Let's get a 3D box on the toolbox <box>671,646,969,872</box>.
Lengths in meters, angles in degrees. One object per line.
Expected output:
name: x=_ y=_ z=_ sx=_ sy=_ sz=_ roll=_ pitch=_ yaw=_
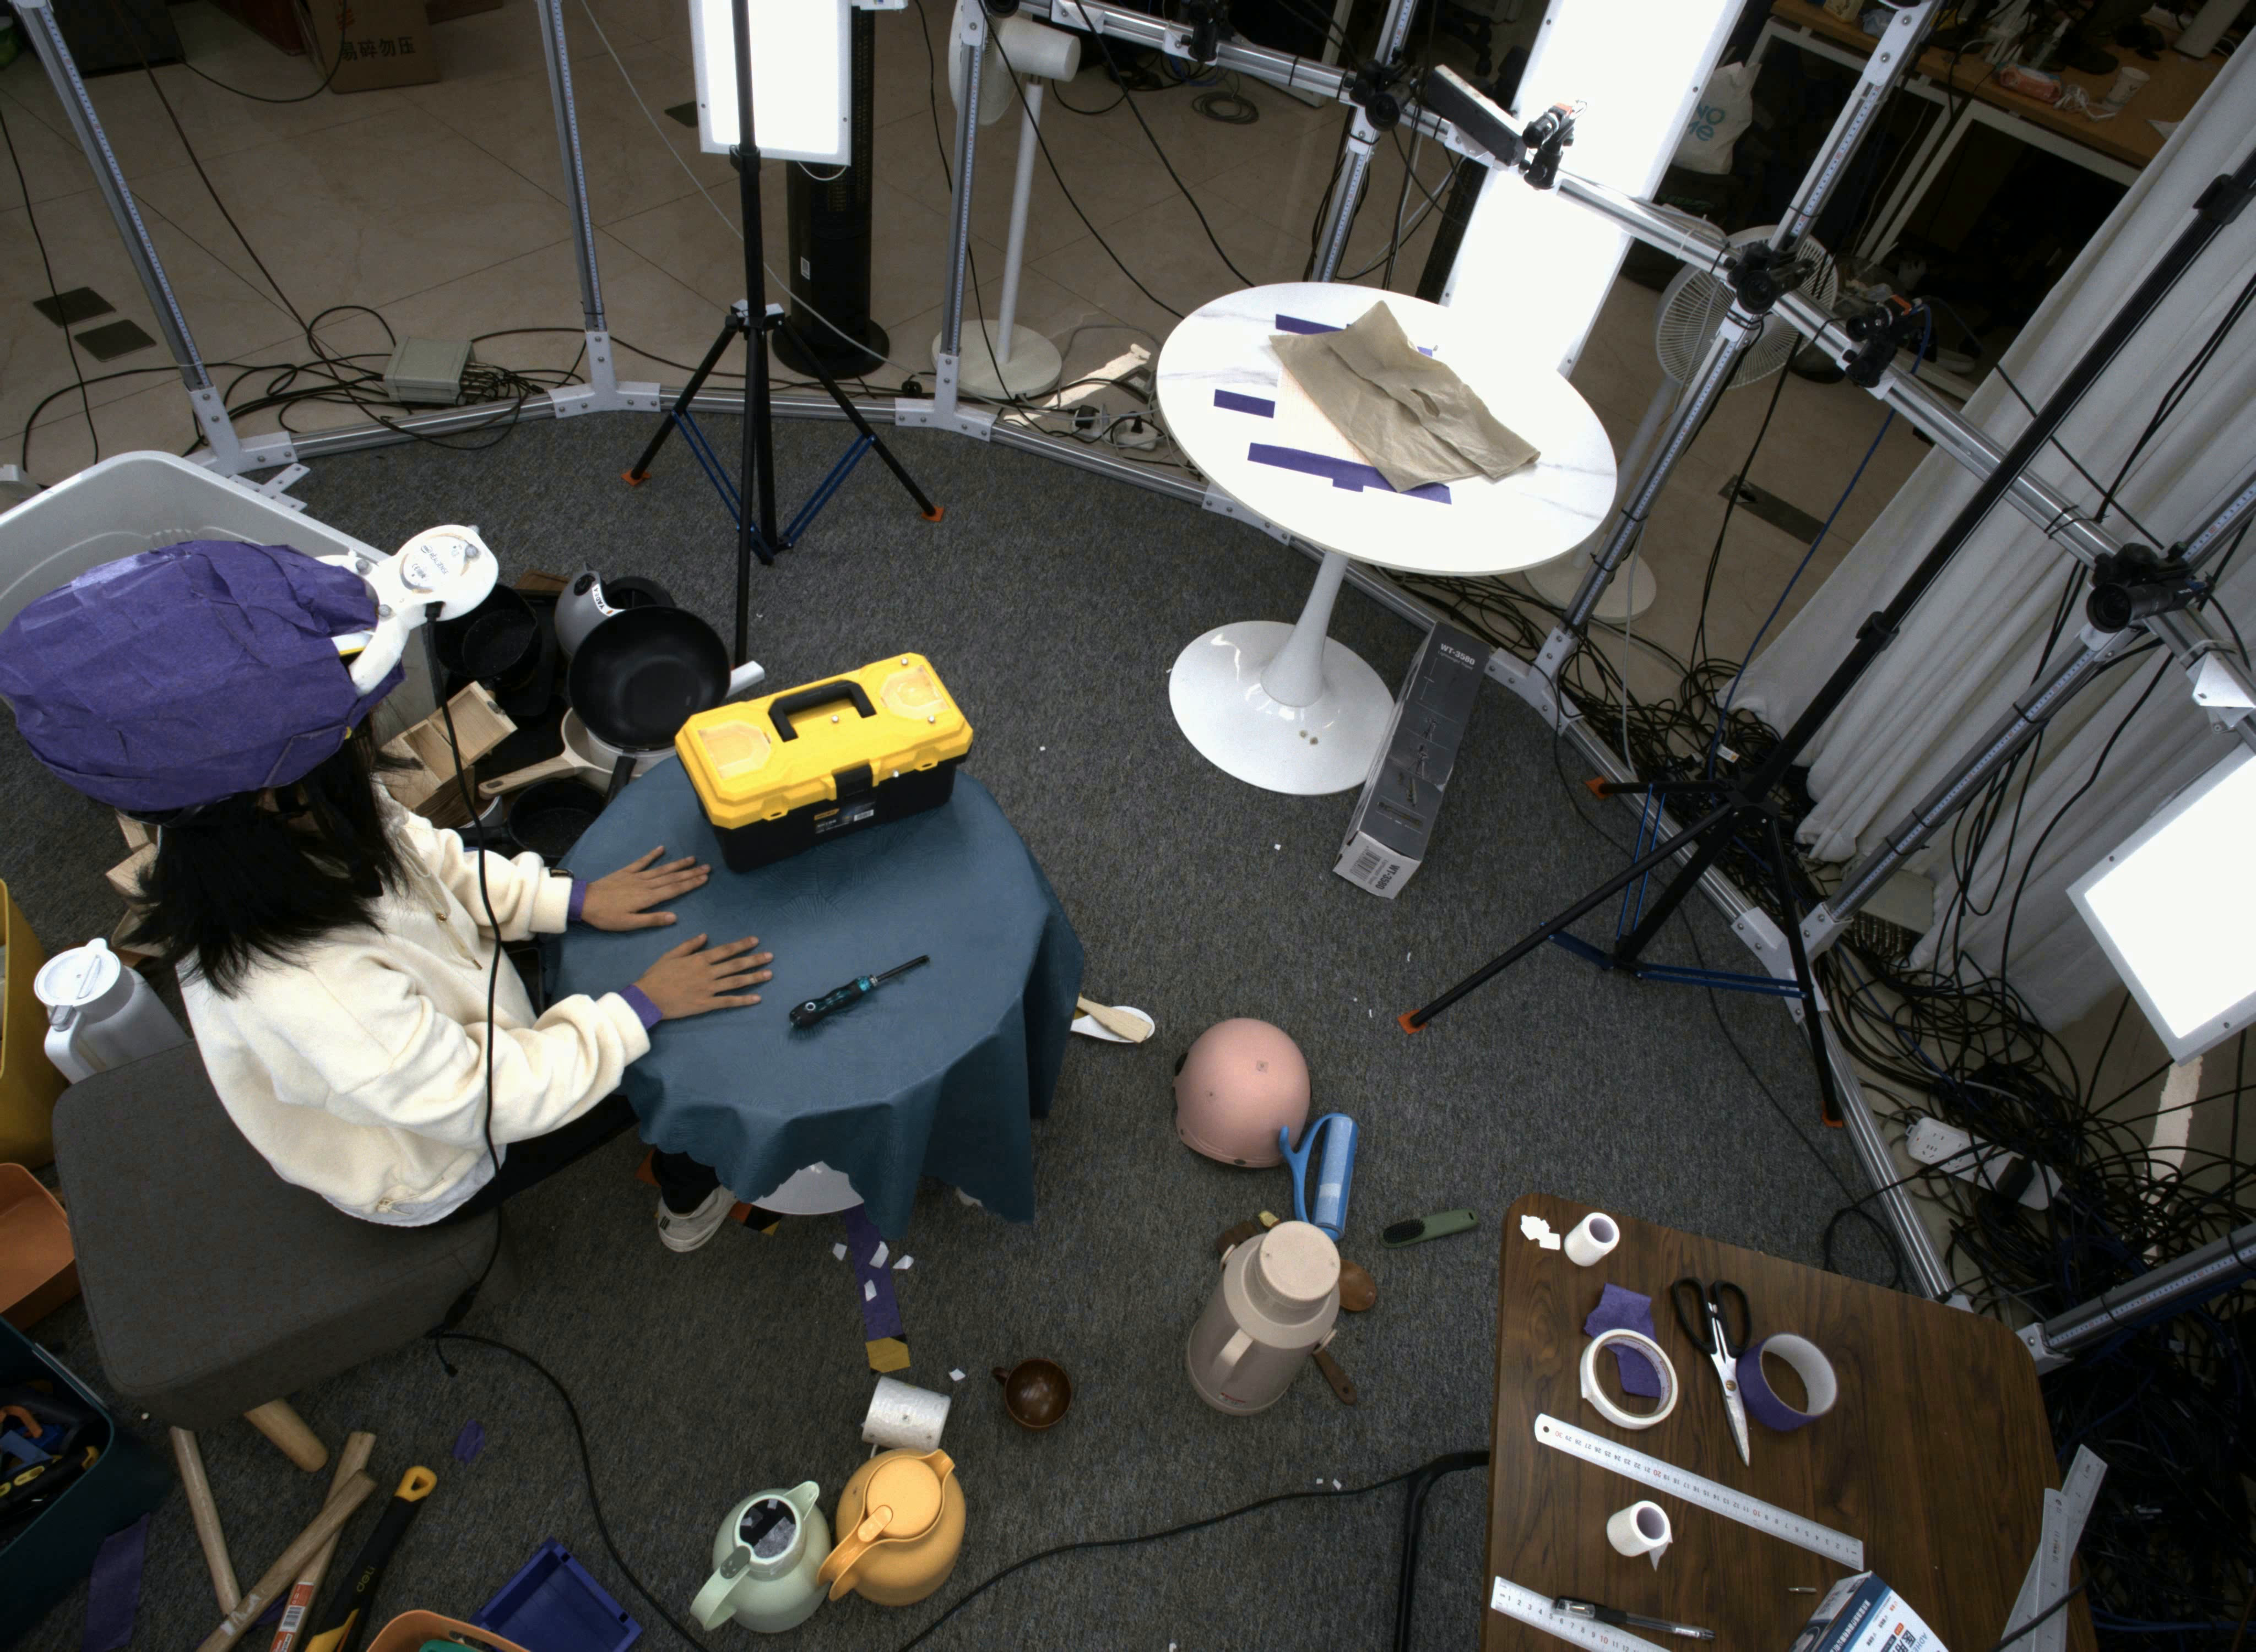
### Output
toolbox: x=-0.393 y=-0.085 z=1.678 sx=0.353 sy=0.176 sz=0.177 roll=-21 pitch=60 yaw=-27

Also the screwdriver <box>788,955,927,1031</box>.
screwdriver: x=-0.325 y=0.197 z=1.584 sx=0.191 sy=0.034 sz=0.033 roll=-25 pitch=61 yaw=-34
